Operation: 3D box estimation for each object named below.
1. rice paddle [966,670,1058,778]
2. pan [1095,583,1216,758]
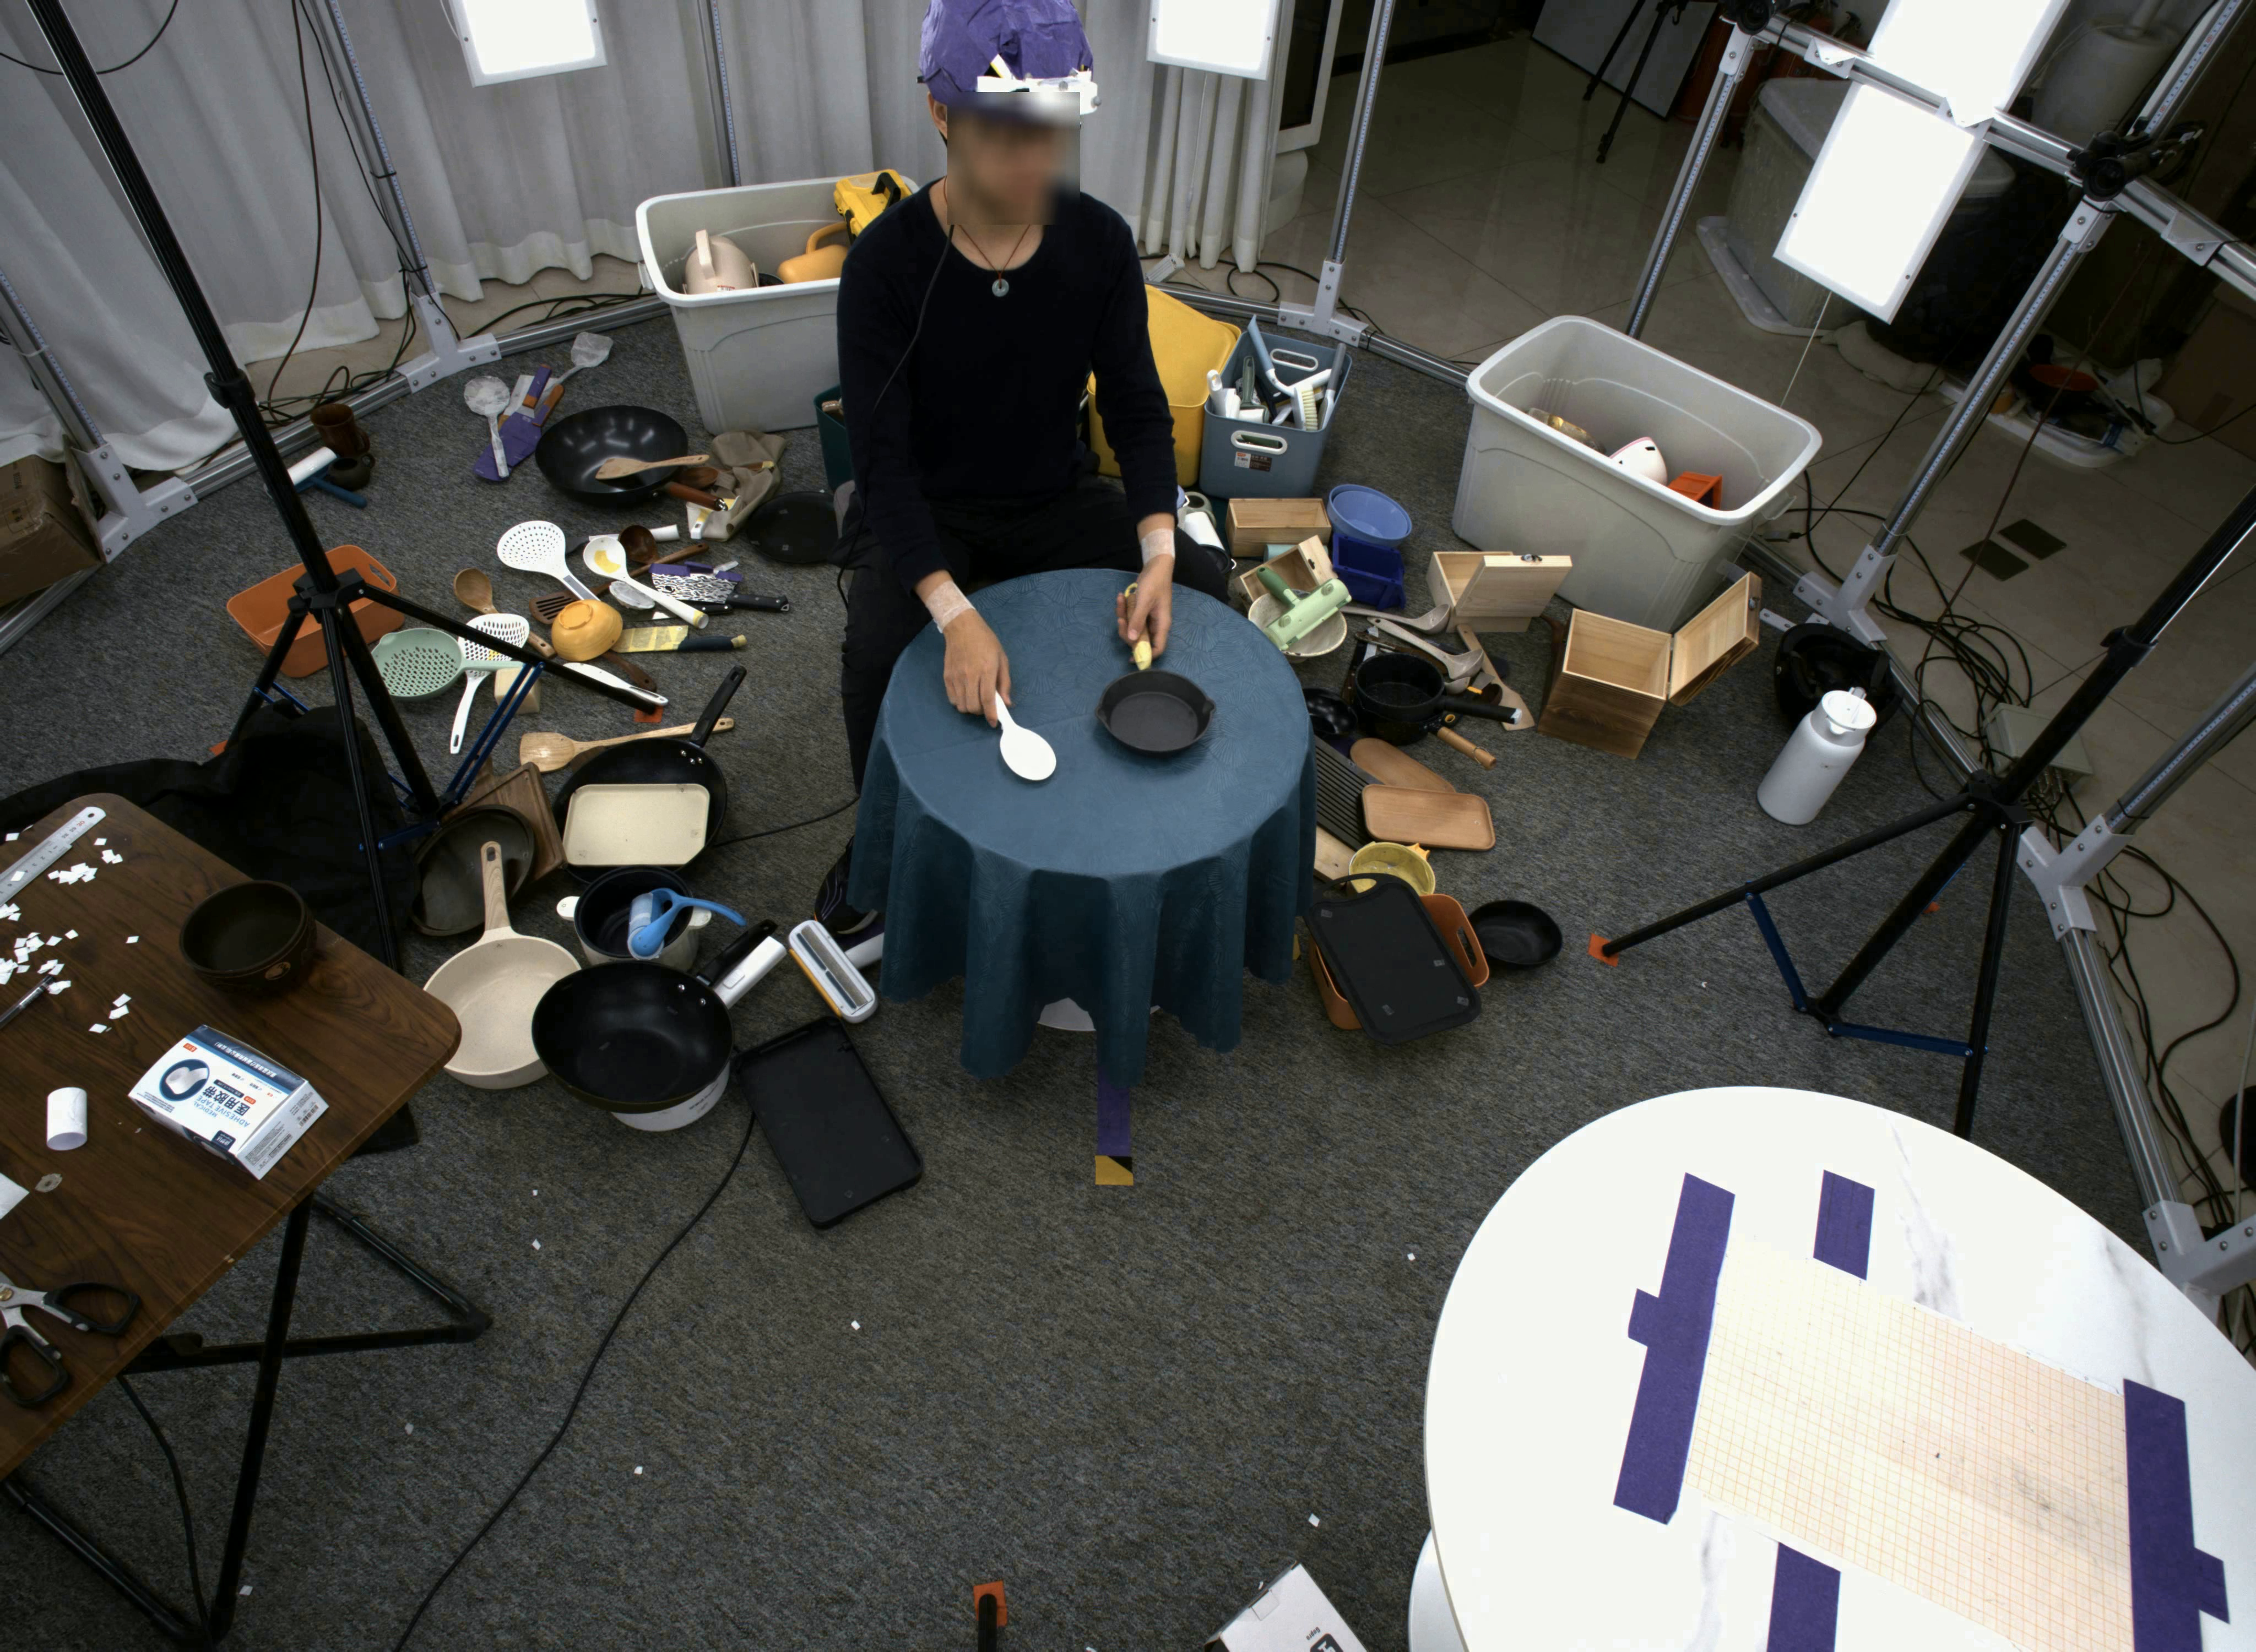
[{"bbox_3d":[-0.162,-0.139,1.757,0.069,0.029,0.209,-20,55,-24],"label":"rice paddle"},{"bbox_3d":[0.029,-0.223,1.832,0.169,0.048,0.332,-2,51,-6],"label":"pan"}]
